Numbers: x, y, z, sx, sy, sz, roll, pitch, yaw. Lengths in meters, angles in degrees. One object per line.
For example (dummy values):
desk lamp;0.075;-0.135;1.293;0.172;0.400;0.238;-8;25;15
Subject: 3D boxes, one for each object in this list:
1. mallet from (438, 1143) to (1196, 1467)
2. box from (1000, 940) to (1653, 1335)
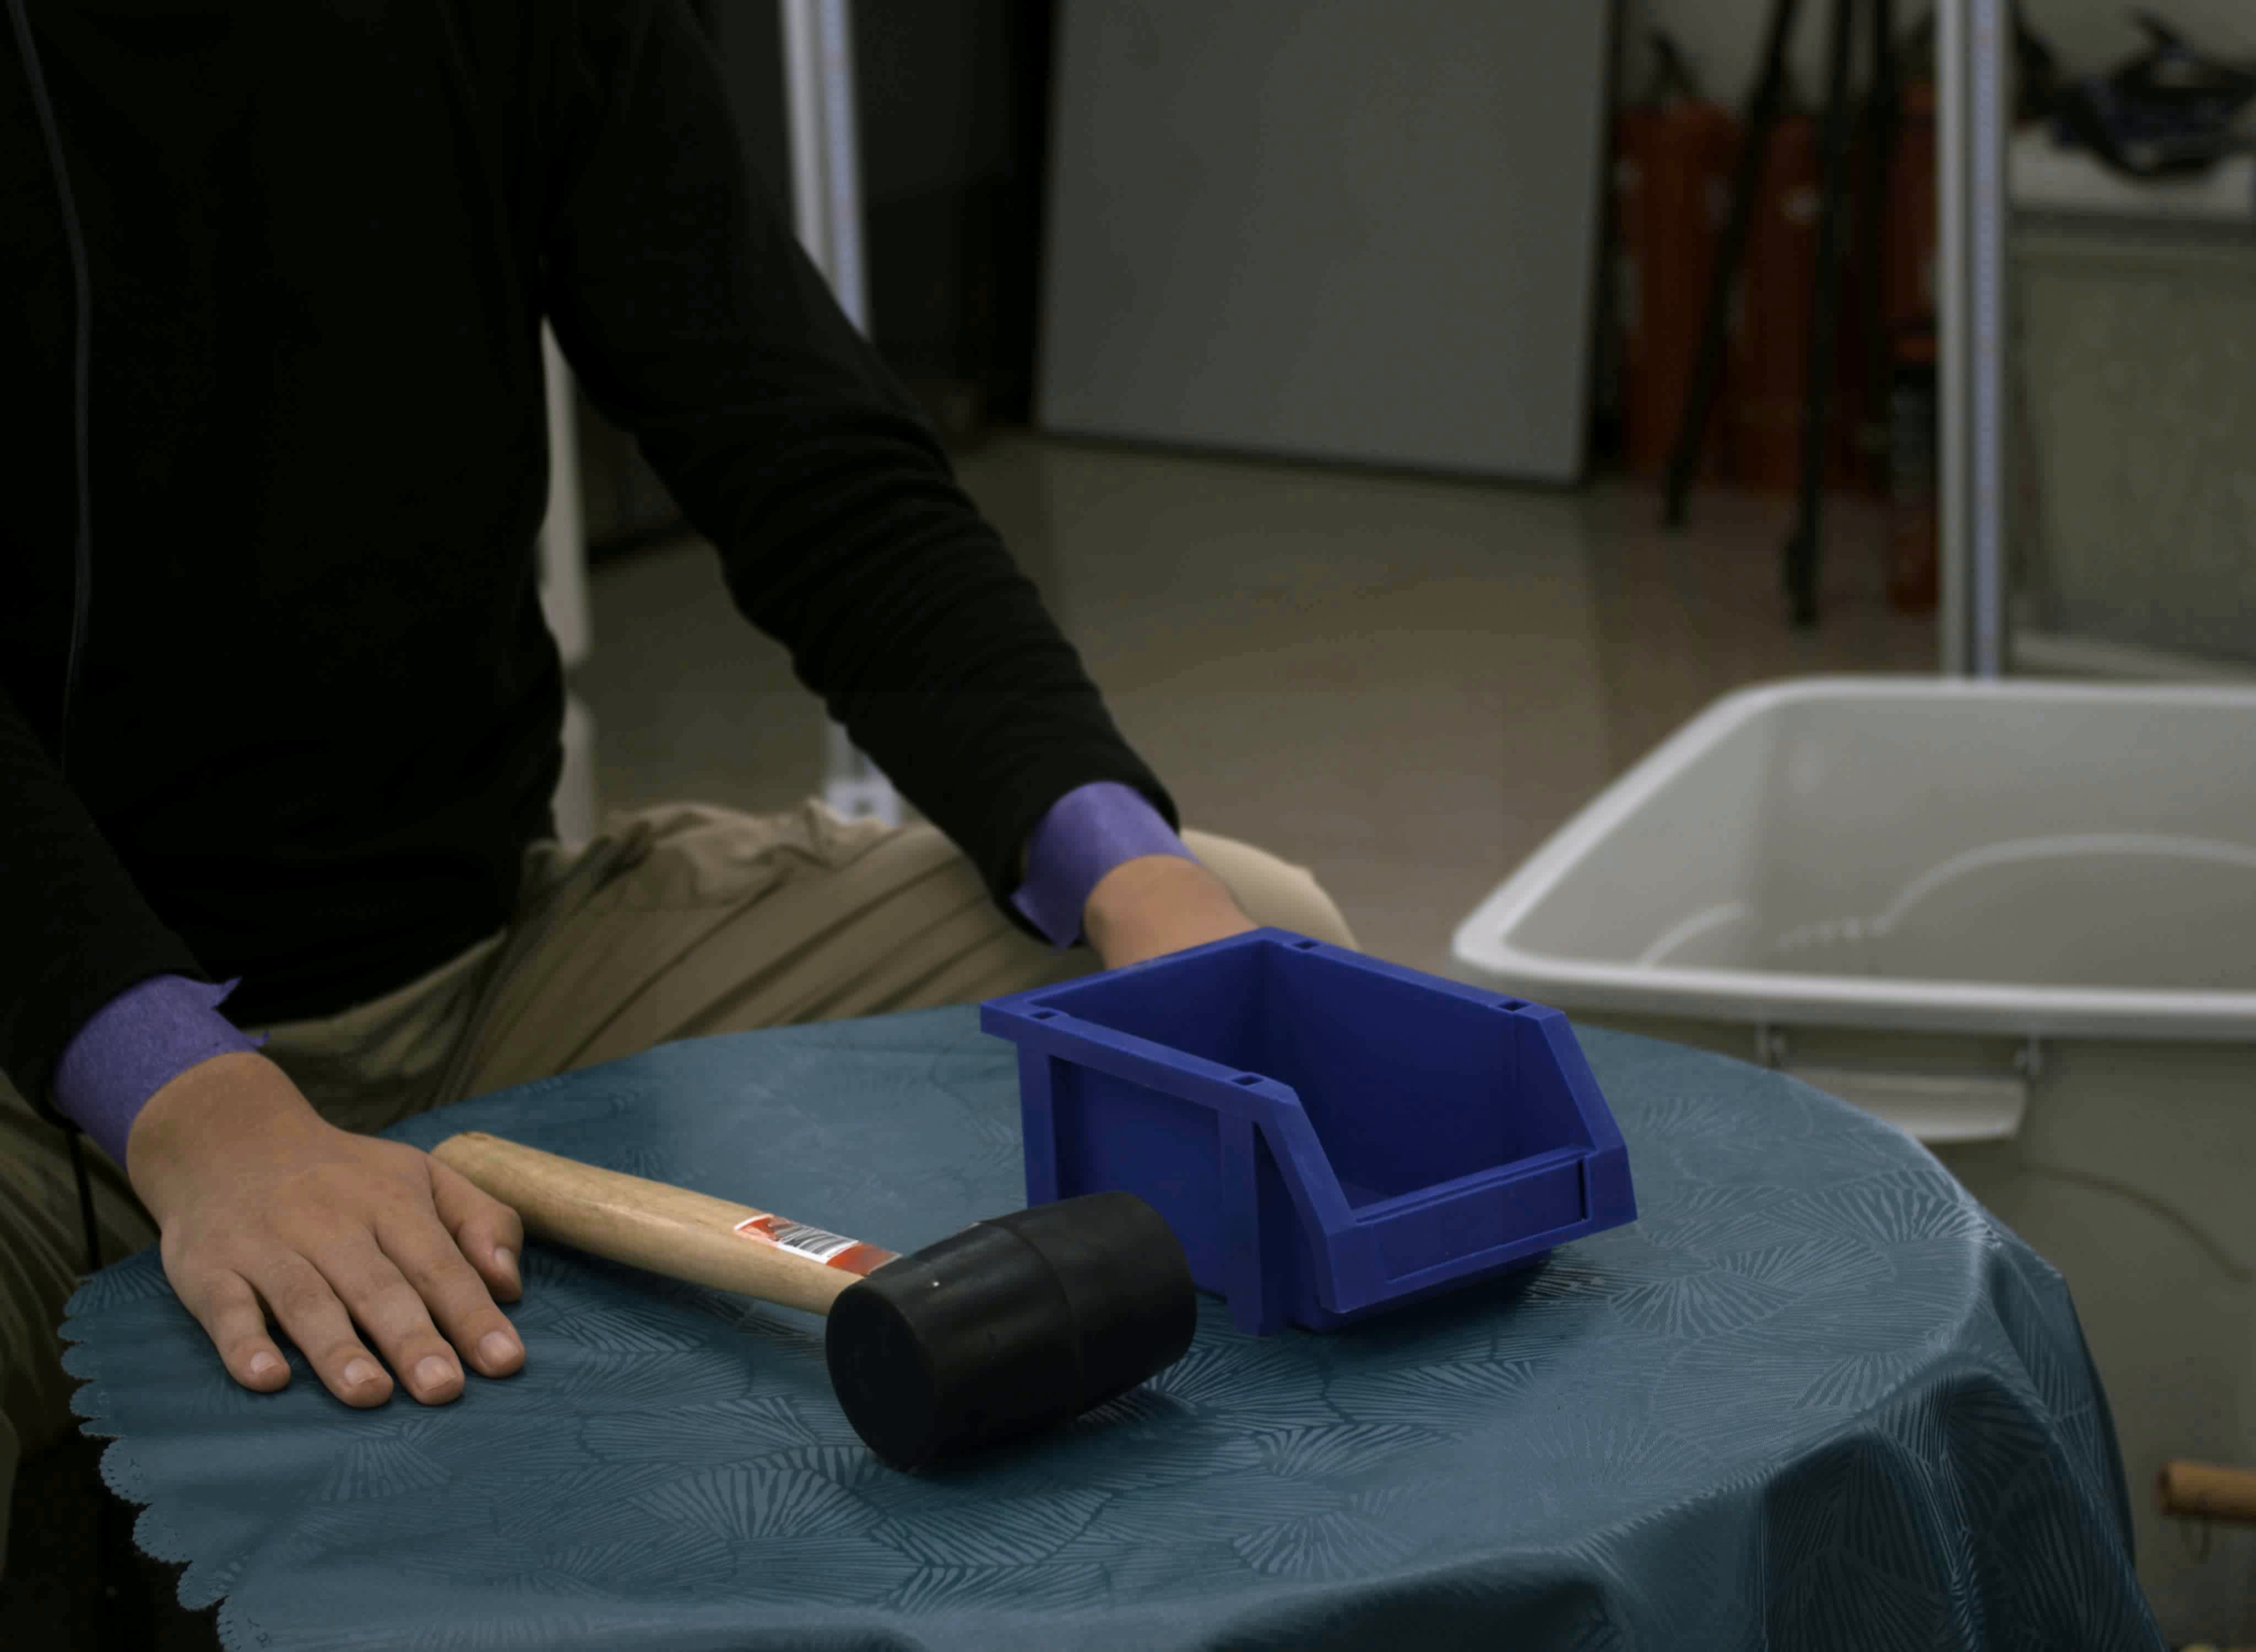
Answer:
mallet;-0.117;0.126;1.666;0.099;0.065;0.342;-13;16;-35
box;0.062;0.097;1.681;0.122;0.083;0.181;-13;13;-33
